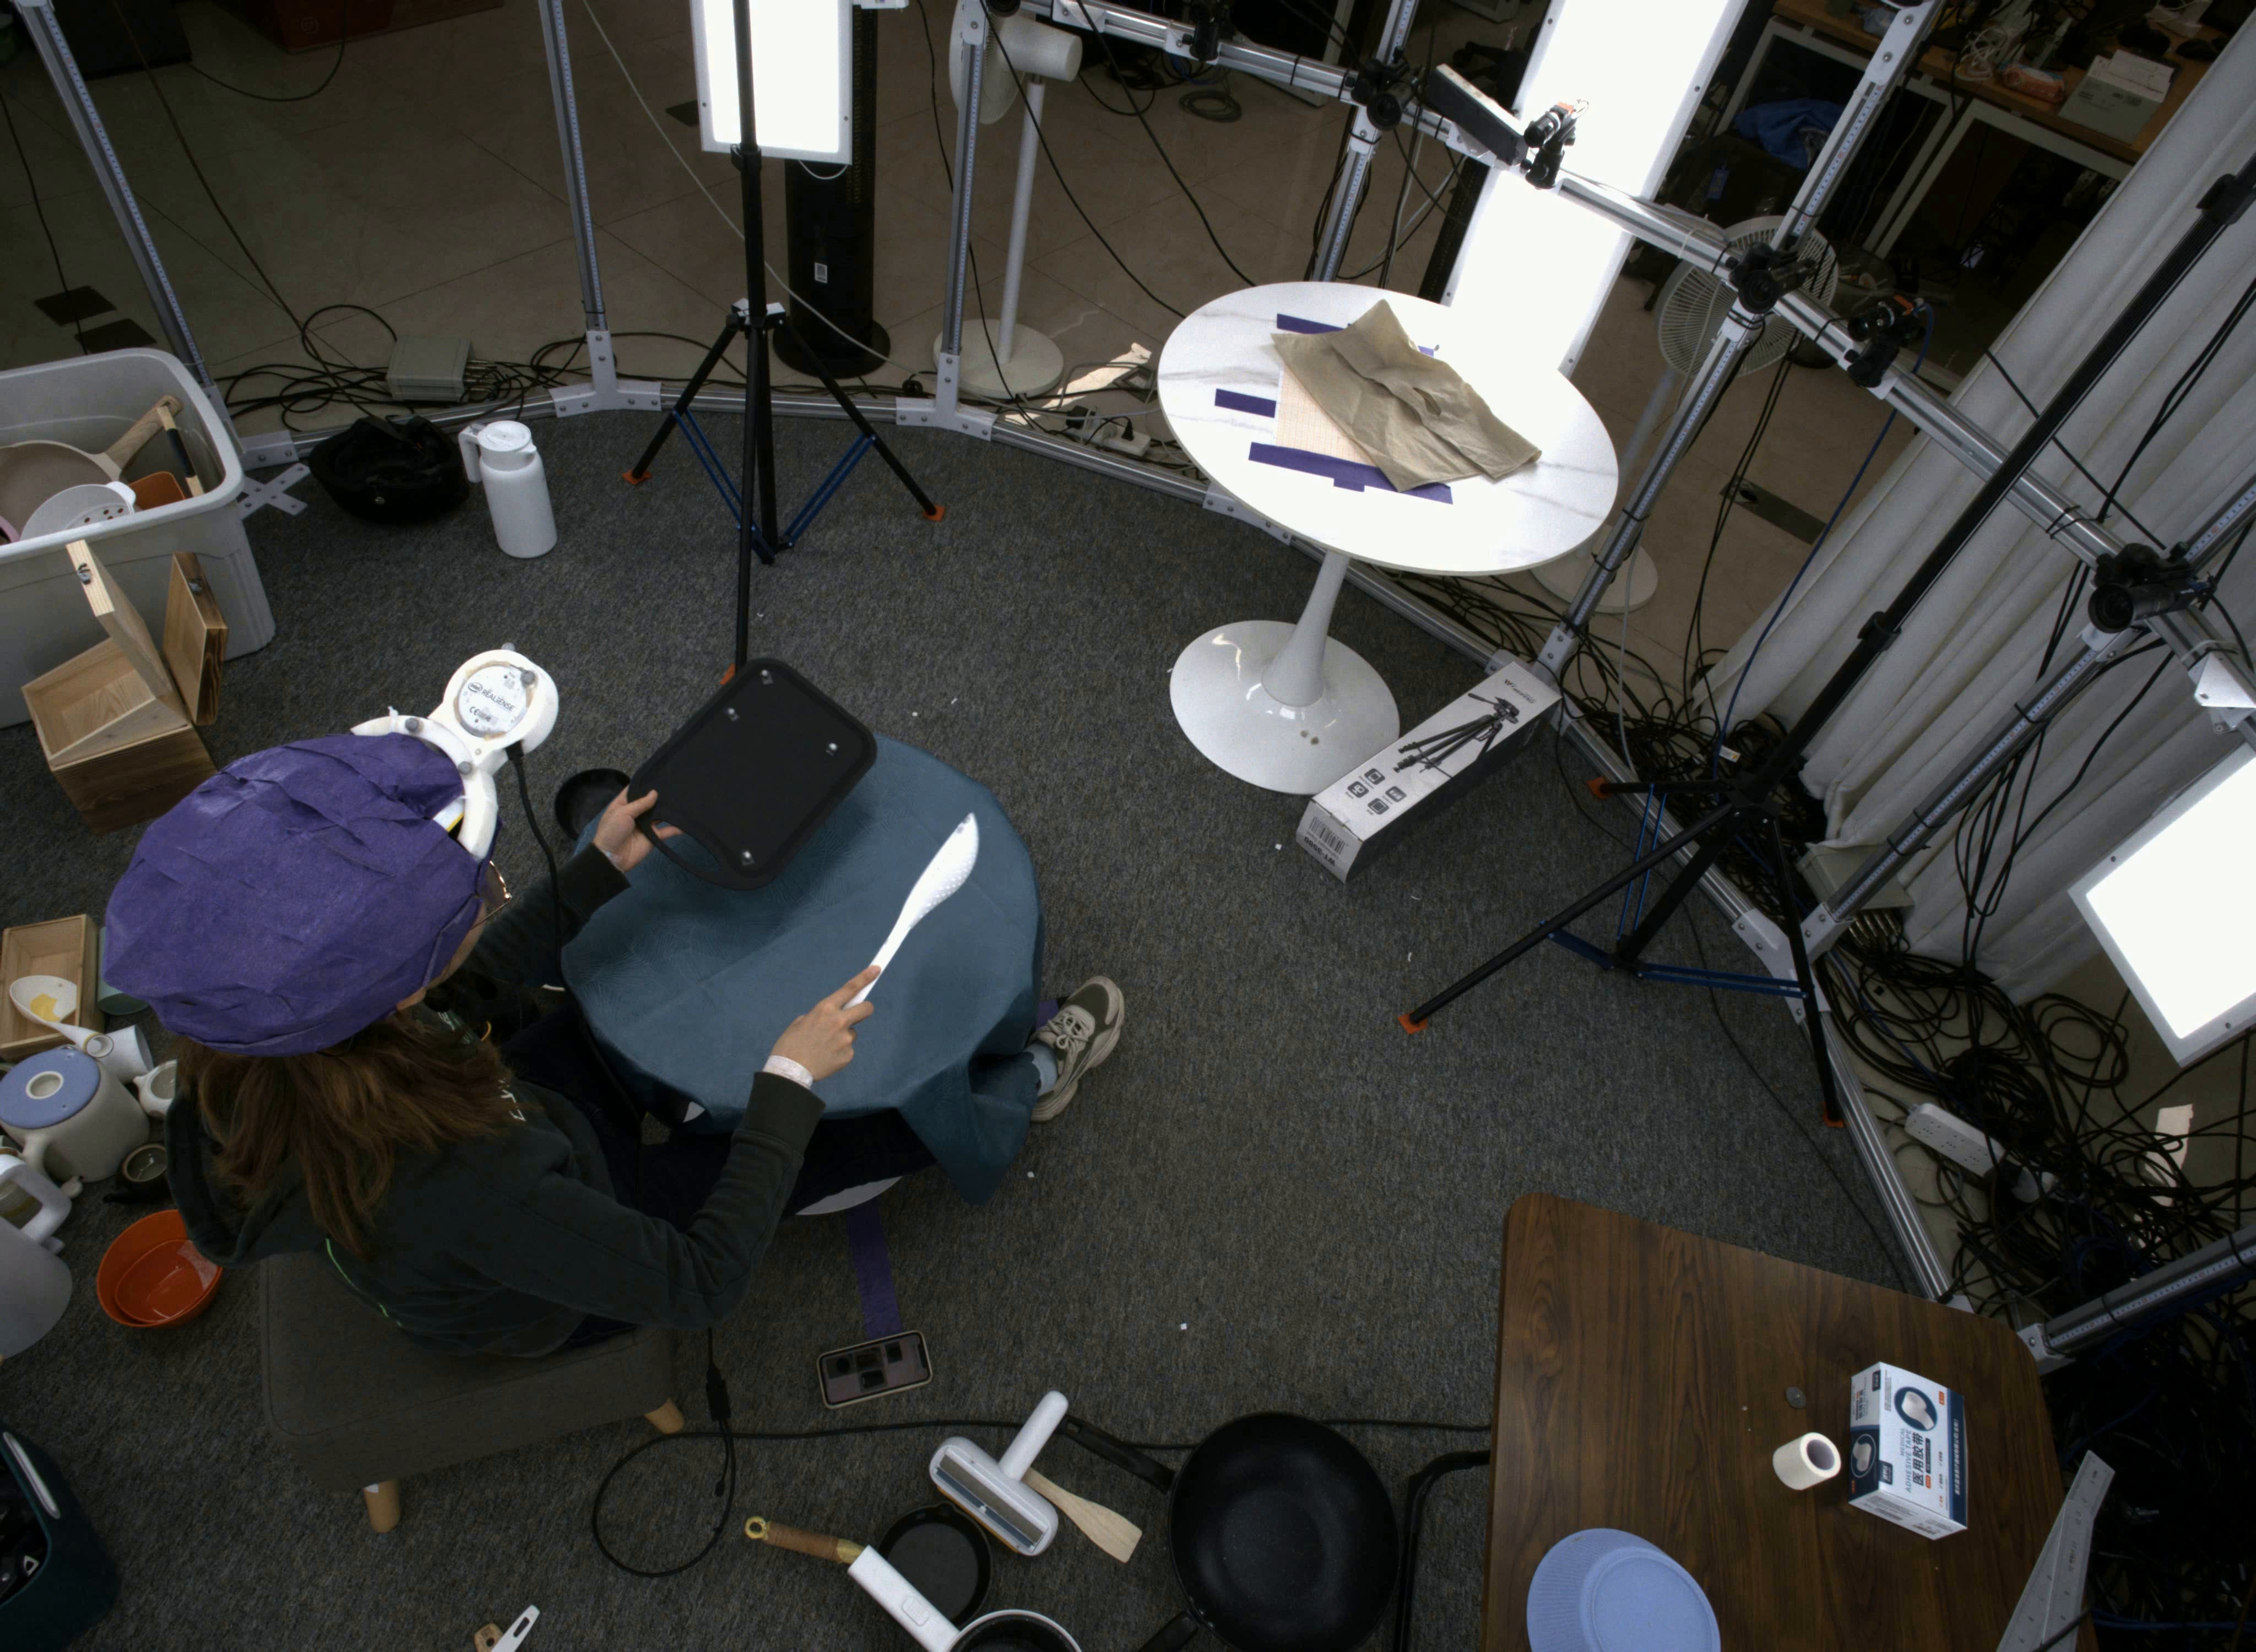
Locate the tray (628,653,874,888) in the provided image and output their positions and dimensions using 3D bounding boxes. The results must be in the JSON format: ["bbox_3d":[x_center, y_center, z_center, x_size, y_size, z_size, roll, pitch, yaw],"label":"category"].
[{"bbox_3d":[-0.471,-0.072,1.620,0.213,0.010,0.323,40,52,-10],"label":"tray"}]

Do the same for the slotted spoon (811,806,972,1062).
[{"bbox_3d":[-0.263,0.117,1.472,0.046,0.136,0.348,35,54,-2],"label":"slotted spoon"}]
